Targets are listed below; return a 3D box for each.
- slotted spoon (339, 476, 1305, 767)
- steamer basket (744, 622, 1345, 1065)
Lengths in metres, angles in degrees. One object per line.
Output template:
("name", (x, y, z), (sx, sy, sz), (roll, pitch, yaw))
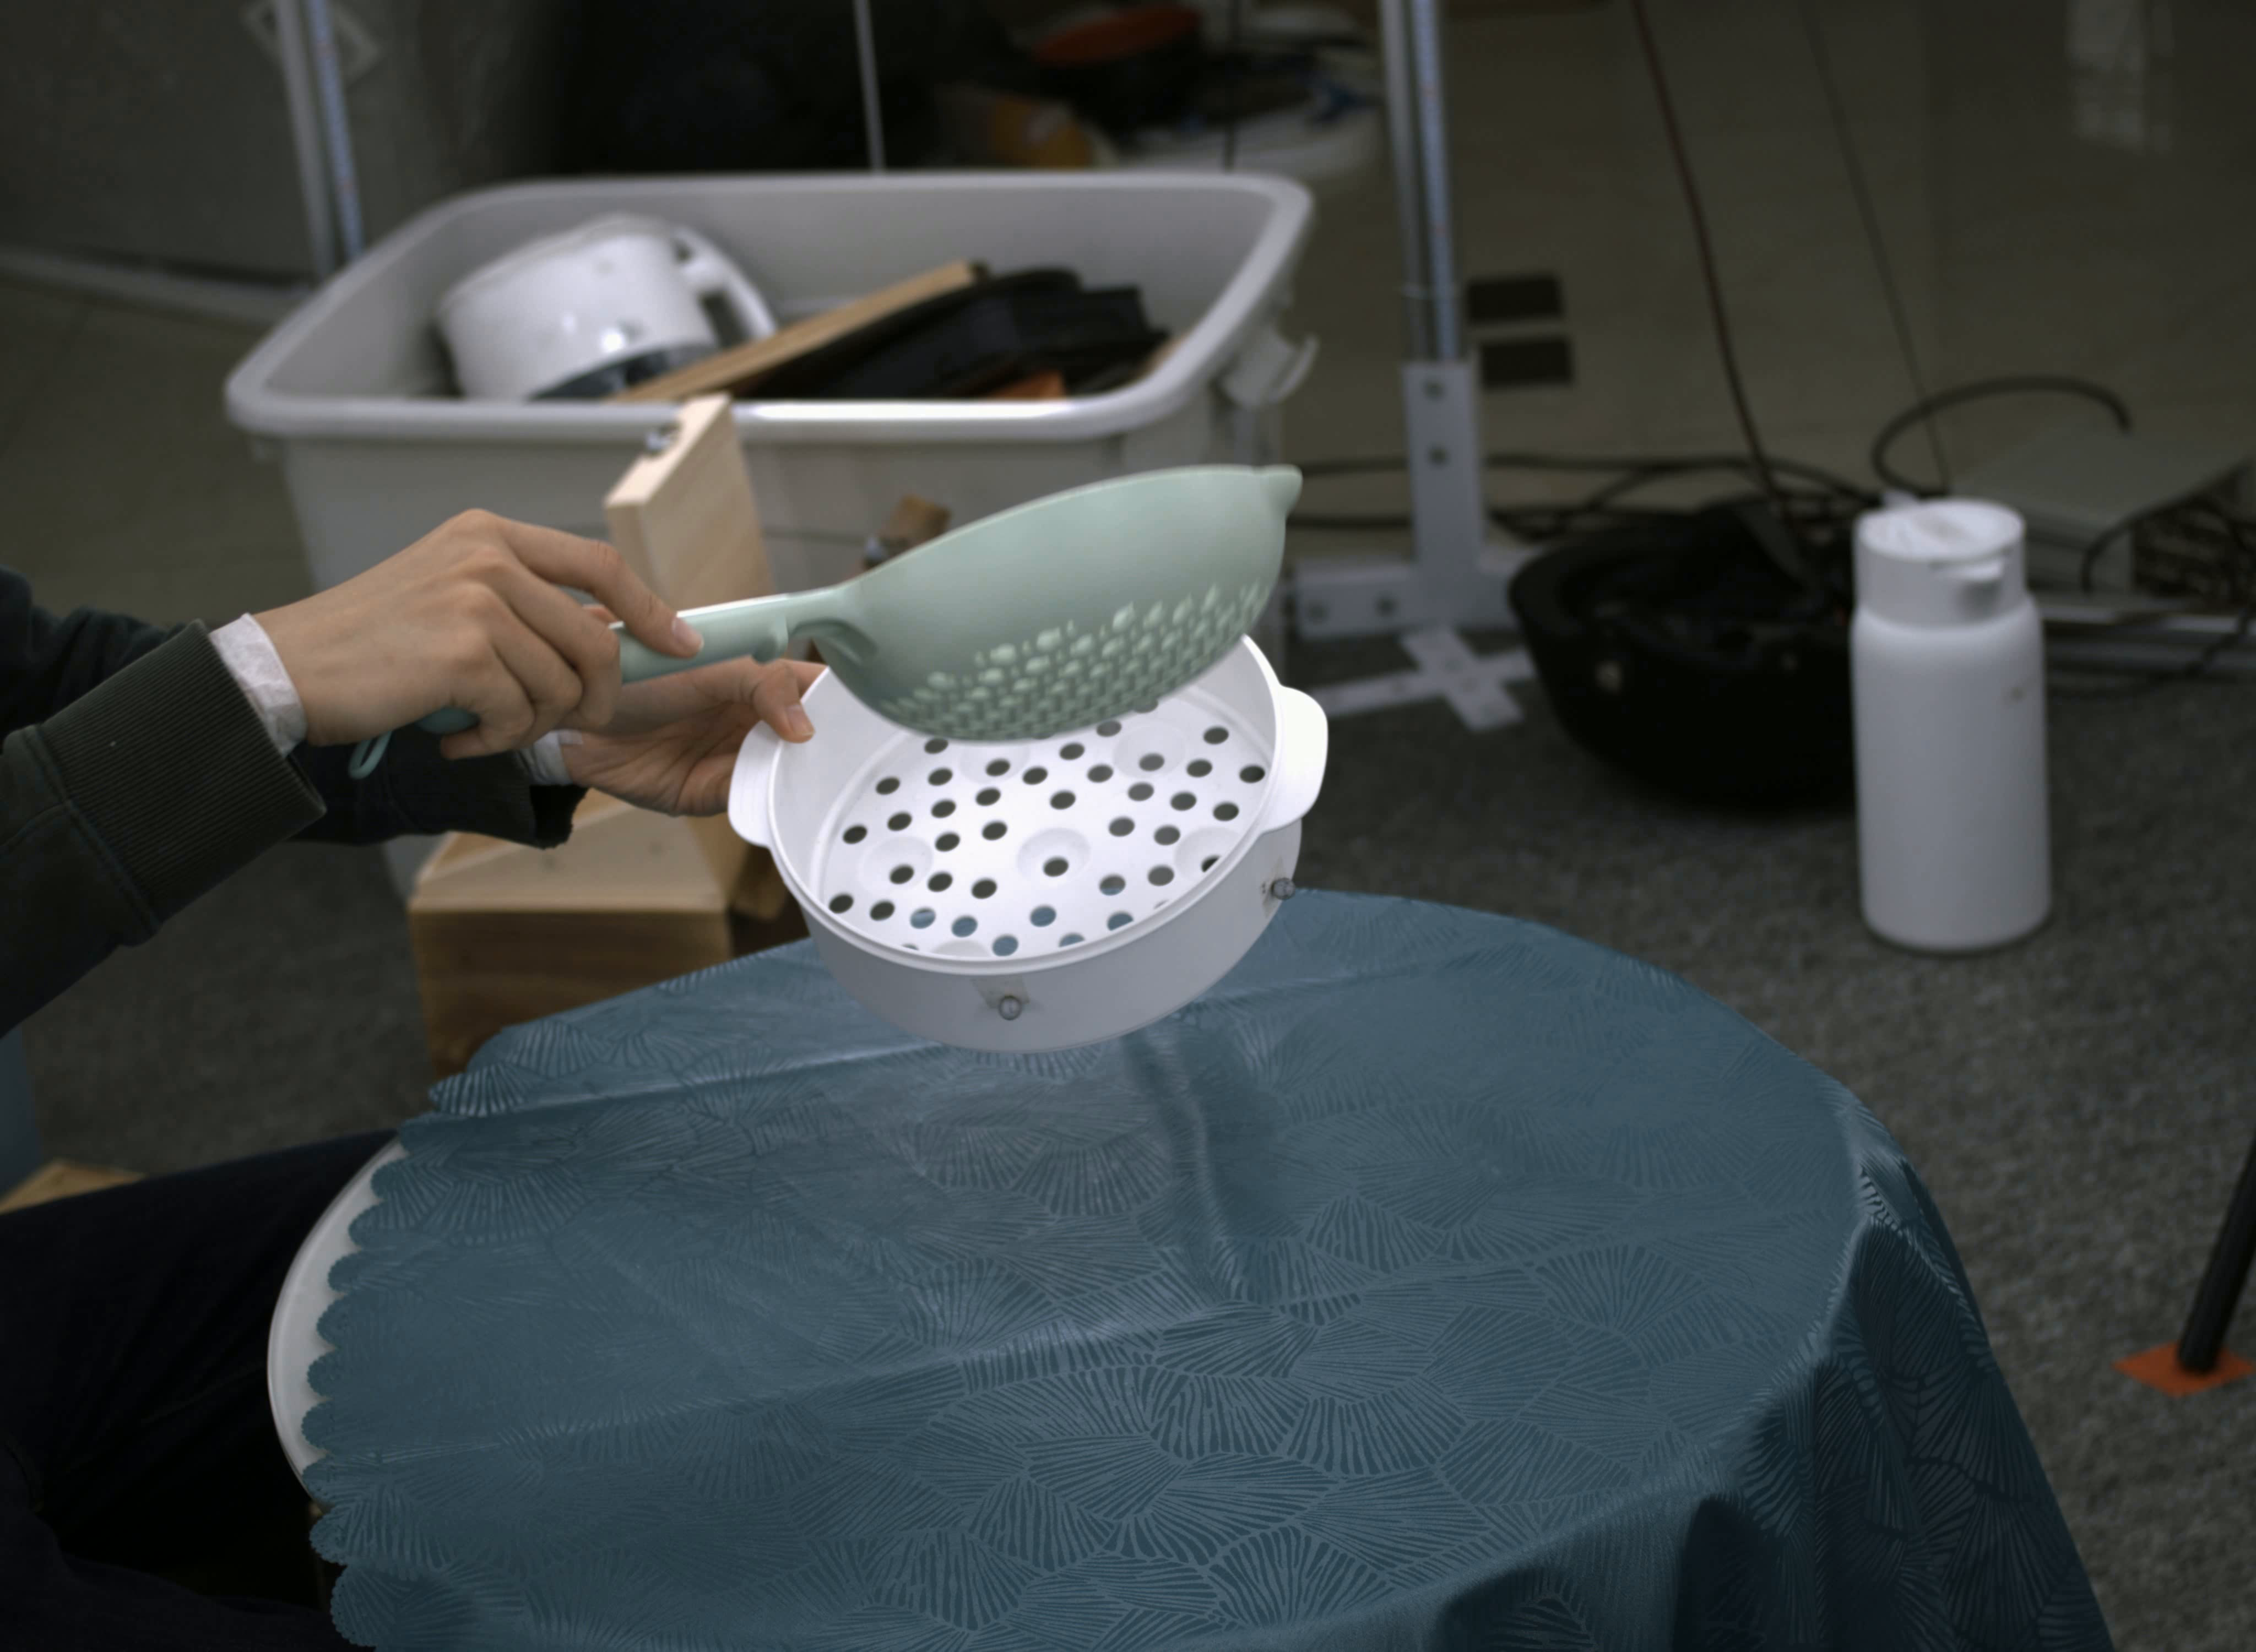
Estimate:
("slotted spoon", (-0.102, -0.060, 1.889), (0.358, 0.075, 0.171), (-2, -18, -32))
("steamer basket", (-0.027, -0.002, 2.145), (0.230, 0.070, 0.198), (-2, 50, 12))
